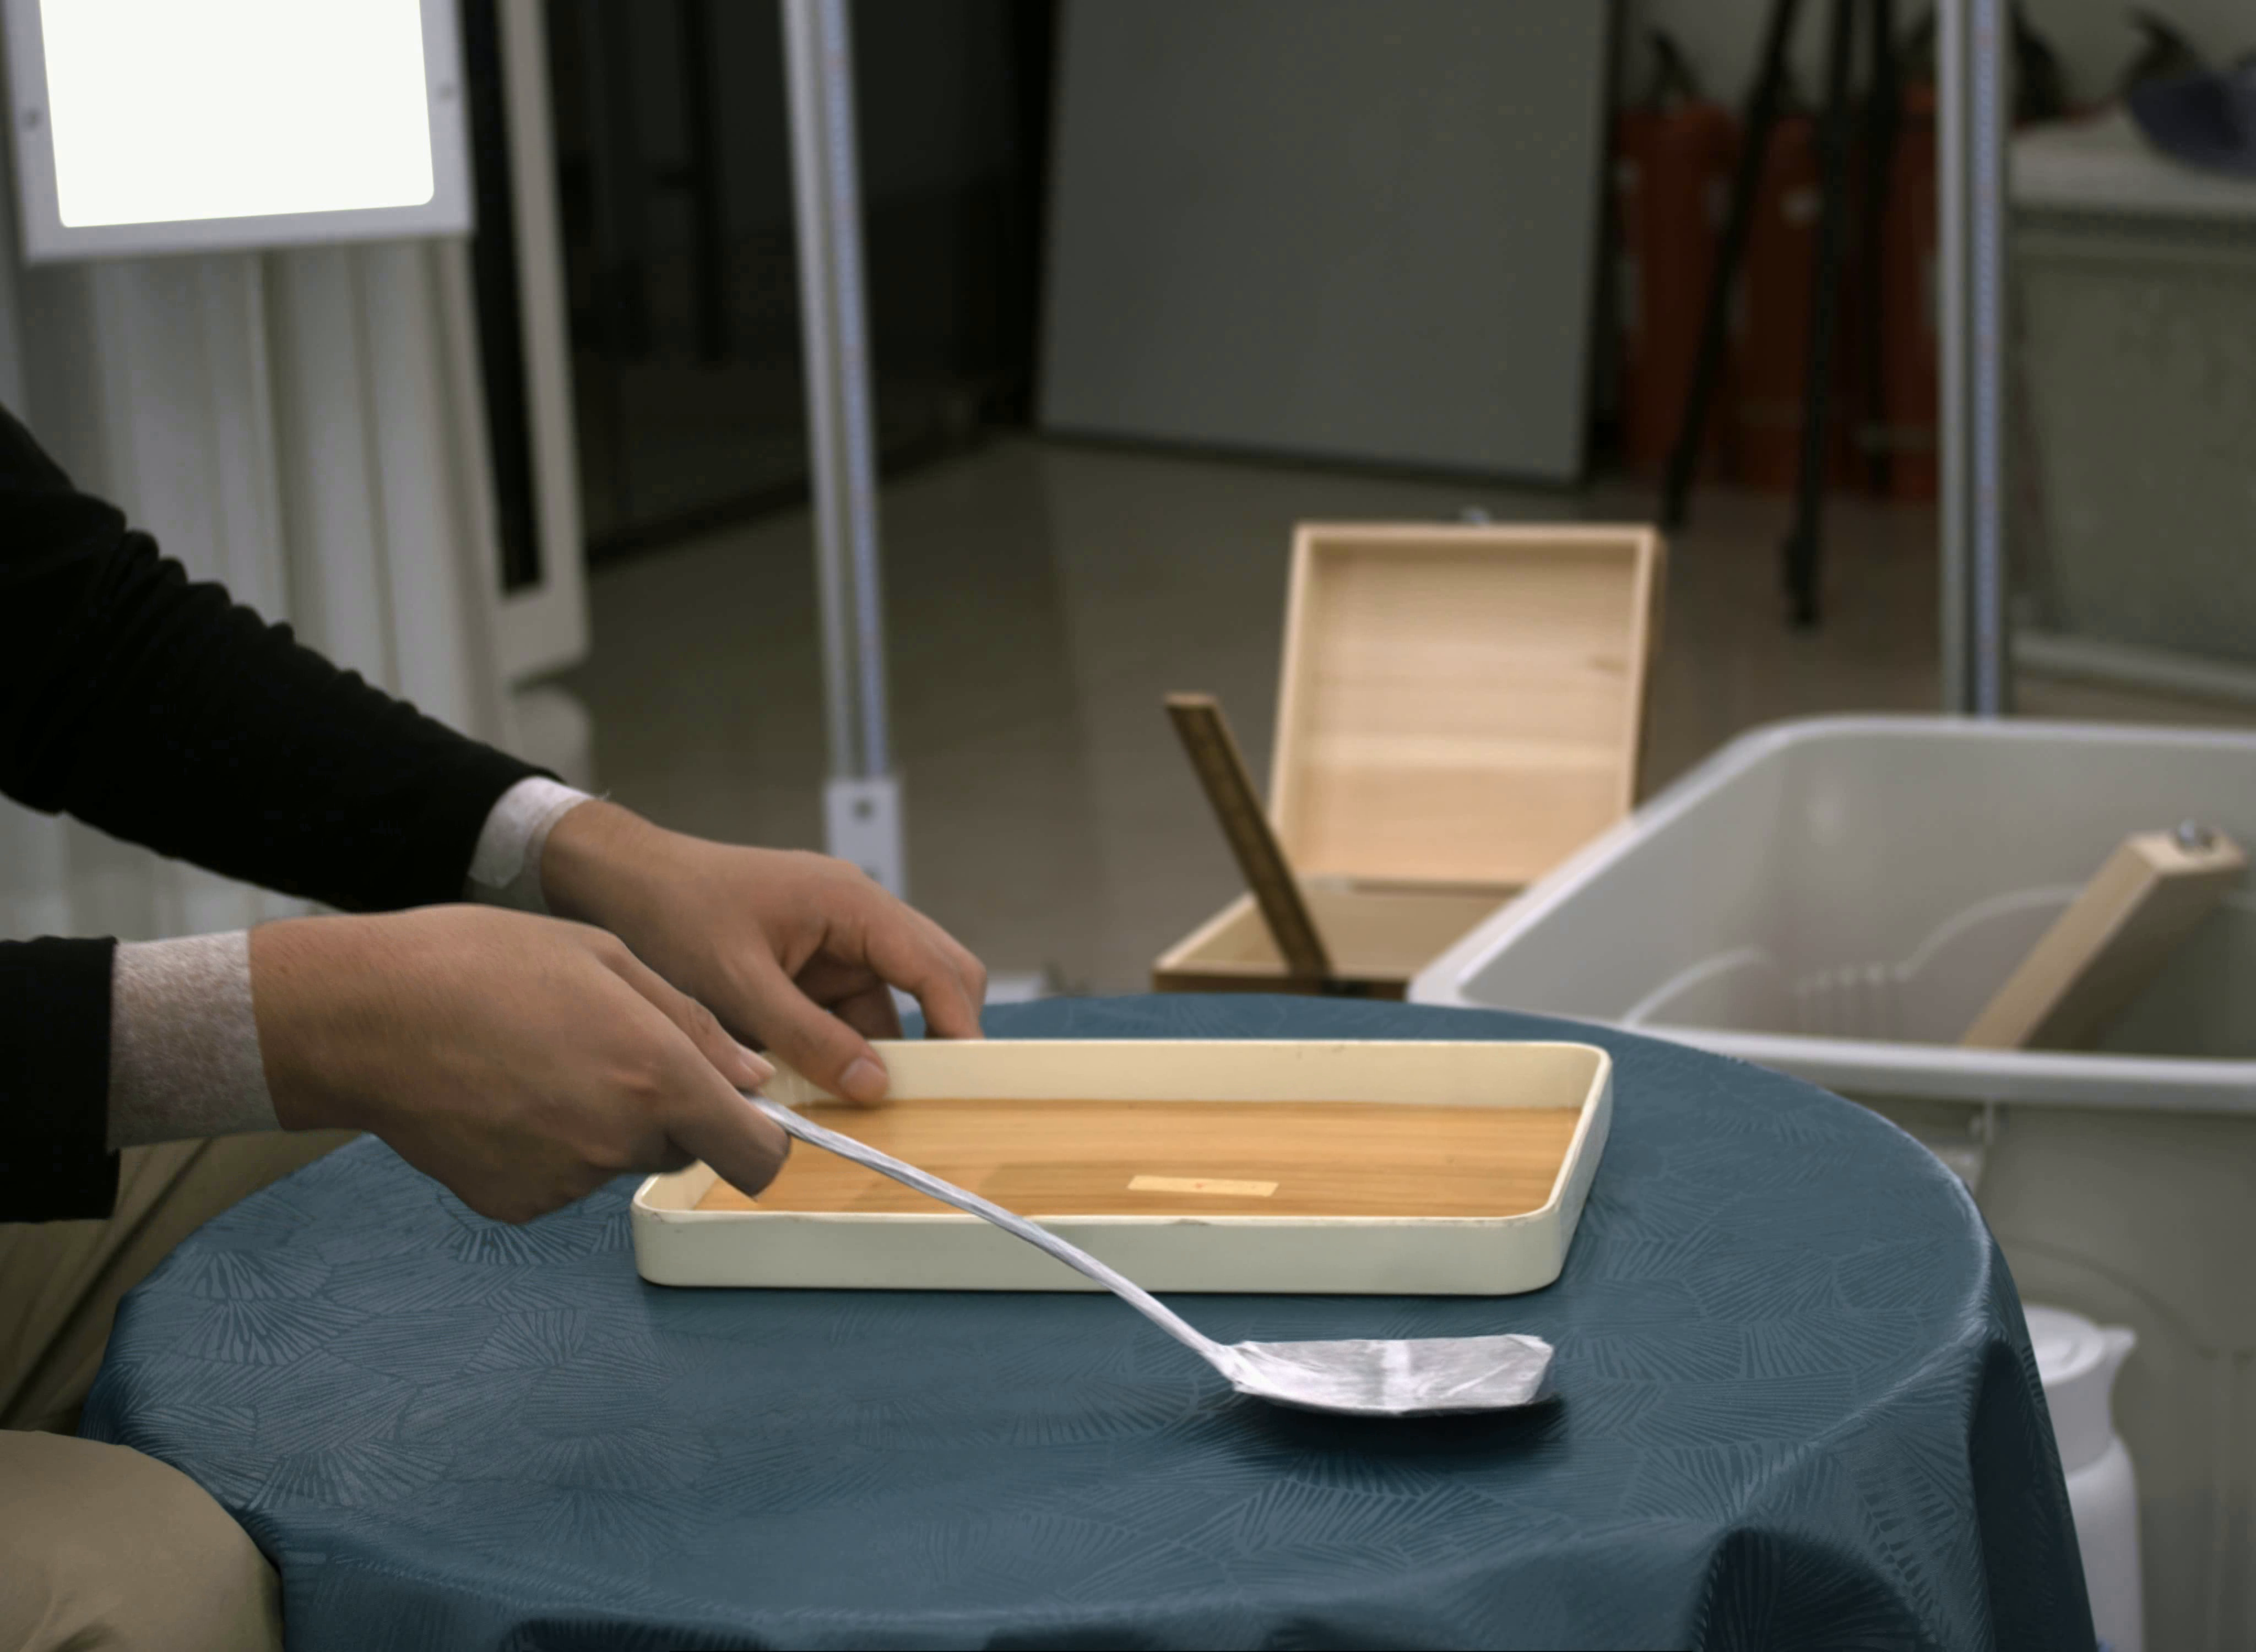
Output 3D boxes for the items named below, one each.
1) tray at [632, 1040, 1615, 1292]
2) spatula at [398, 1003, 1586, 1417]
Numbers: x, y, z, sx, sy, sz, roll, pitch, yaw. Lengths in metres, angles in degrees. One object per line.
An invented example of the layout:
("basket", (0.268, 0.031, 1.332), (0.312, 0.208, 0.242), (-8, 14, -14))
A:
("tray", (0.003, 0.110, 1.757), (0.298, 0.028, 0.190), (-1, 14, 14))
("spatula", (-0.042, 0.106, 1.564), (0.362, 0.045, 0.098), (23, 8, 5))
